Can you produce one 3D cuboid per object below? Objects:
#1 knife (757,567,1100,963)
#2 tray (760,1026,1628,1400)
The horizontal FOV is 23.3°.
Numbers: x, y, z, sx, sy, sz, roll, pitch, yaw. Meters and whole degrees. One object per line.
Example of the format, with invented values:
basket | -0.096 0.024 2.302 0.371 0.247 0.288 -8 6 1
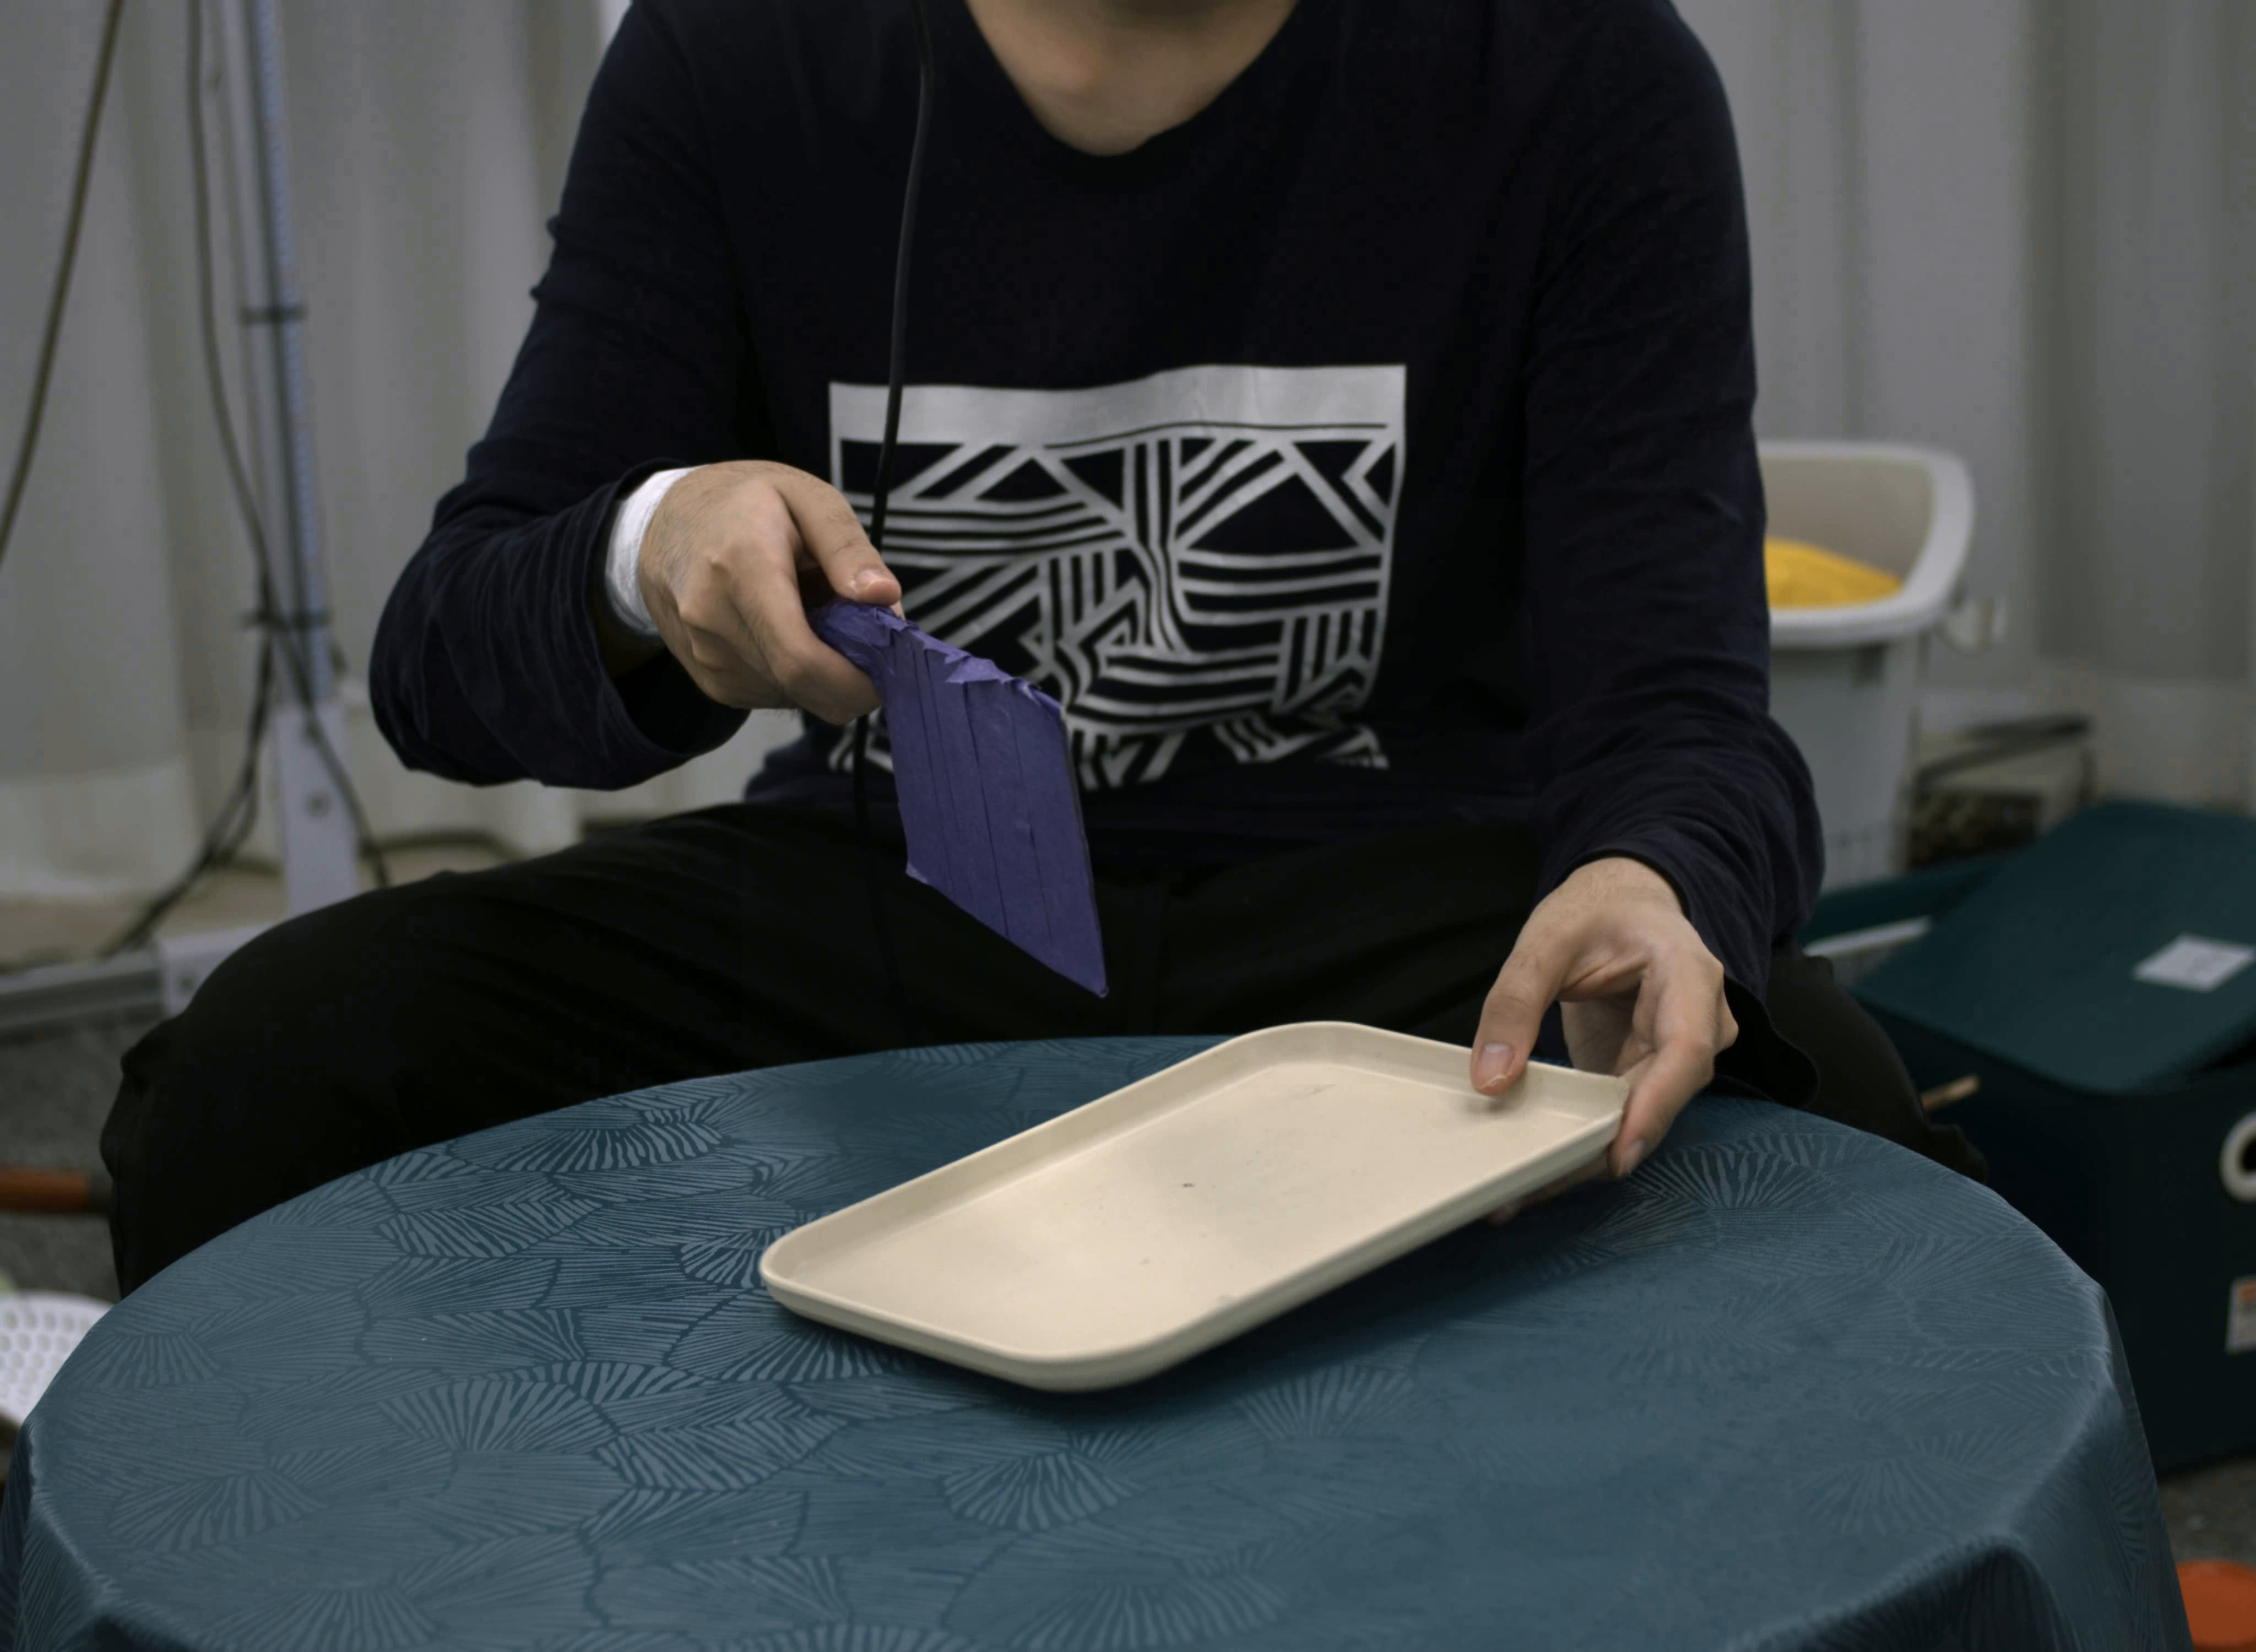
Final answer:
knife | -0.065 -0.020 1.703 0.032 0.103 0.317 -11 12 -14
tray | 0.022 0.114 1.637 0.239 0.017 0.172 -22 21 -38
